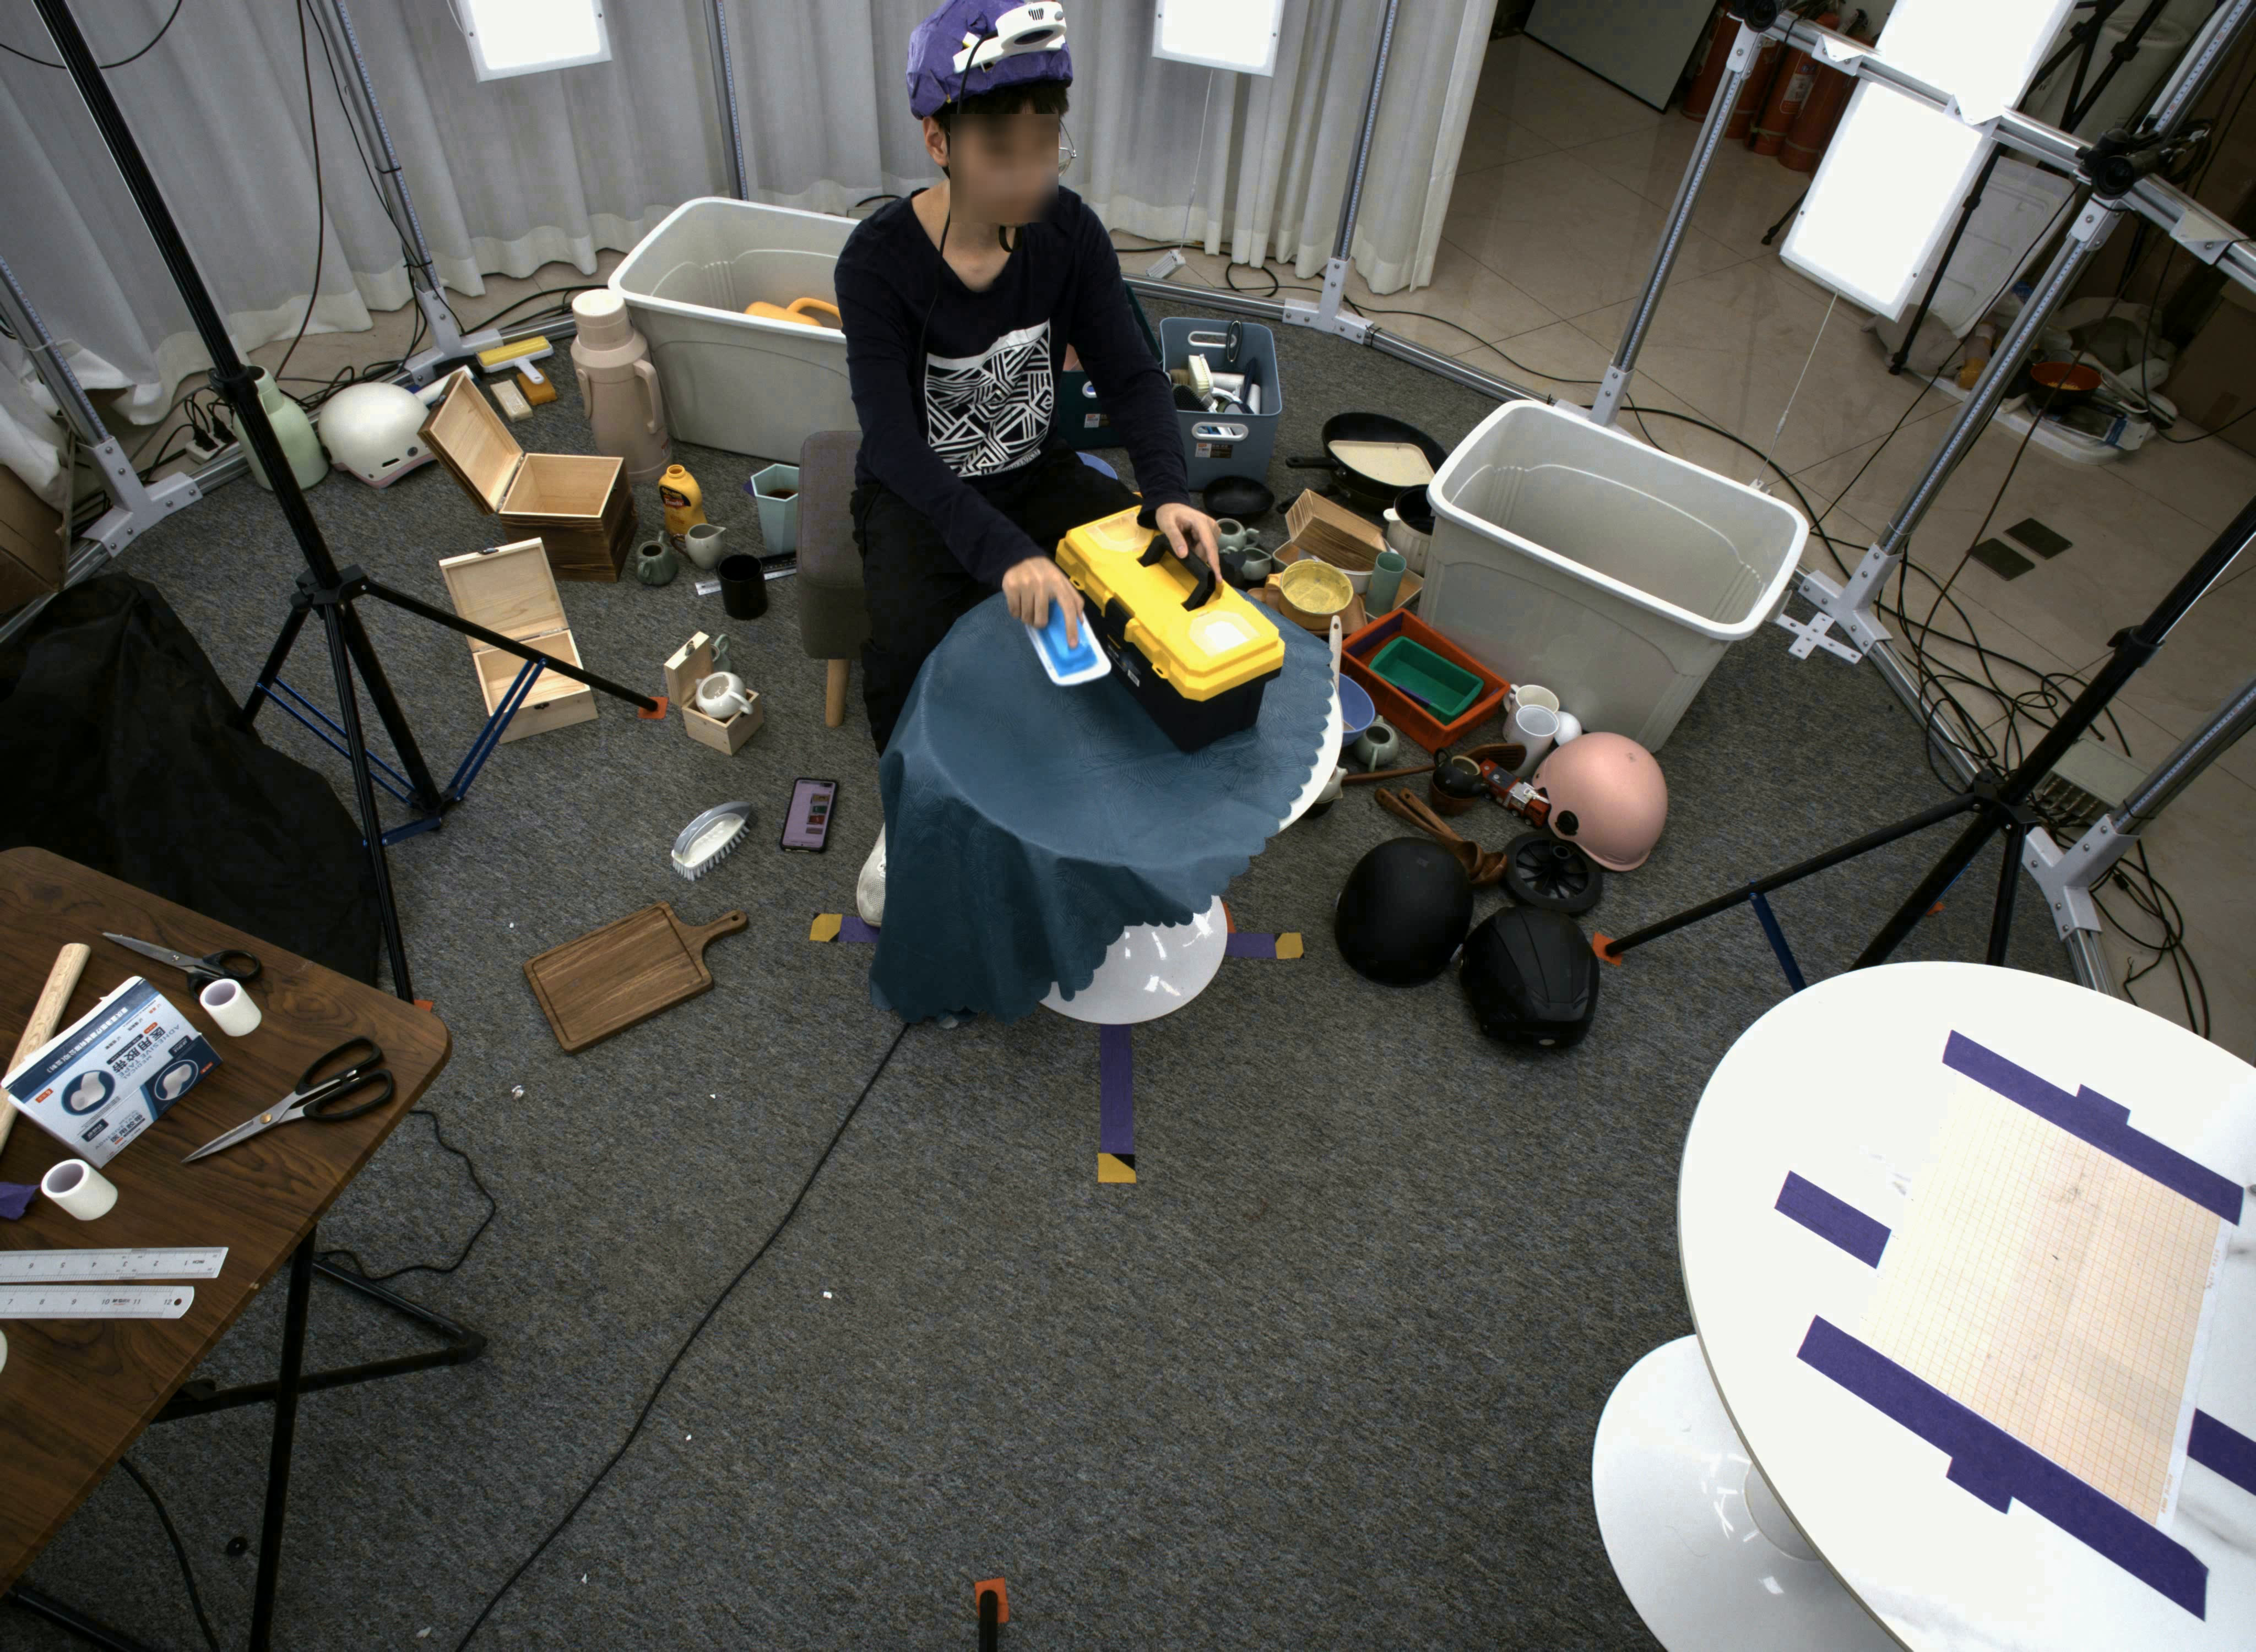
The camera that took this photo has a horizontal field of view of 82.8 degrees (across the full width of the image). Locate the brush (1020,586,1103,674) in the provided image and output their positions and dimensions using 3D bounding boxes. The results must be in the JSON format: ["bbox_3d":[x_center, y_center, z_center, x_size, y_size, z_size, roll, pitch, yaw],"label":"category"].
[{"bbox_3d":[-0.085,-0.261,1.666,0.084,0.054,0.147,-13,52,-12],"label":"brush"}]

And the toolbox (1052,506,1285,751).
[{"bbox_3d":[0.048,-0.278,1.800,0.182,0.168,0.358,-24,54,-24],"label":"toolbox"}]
